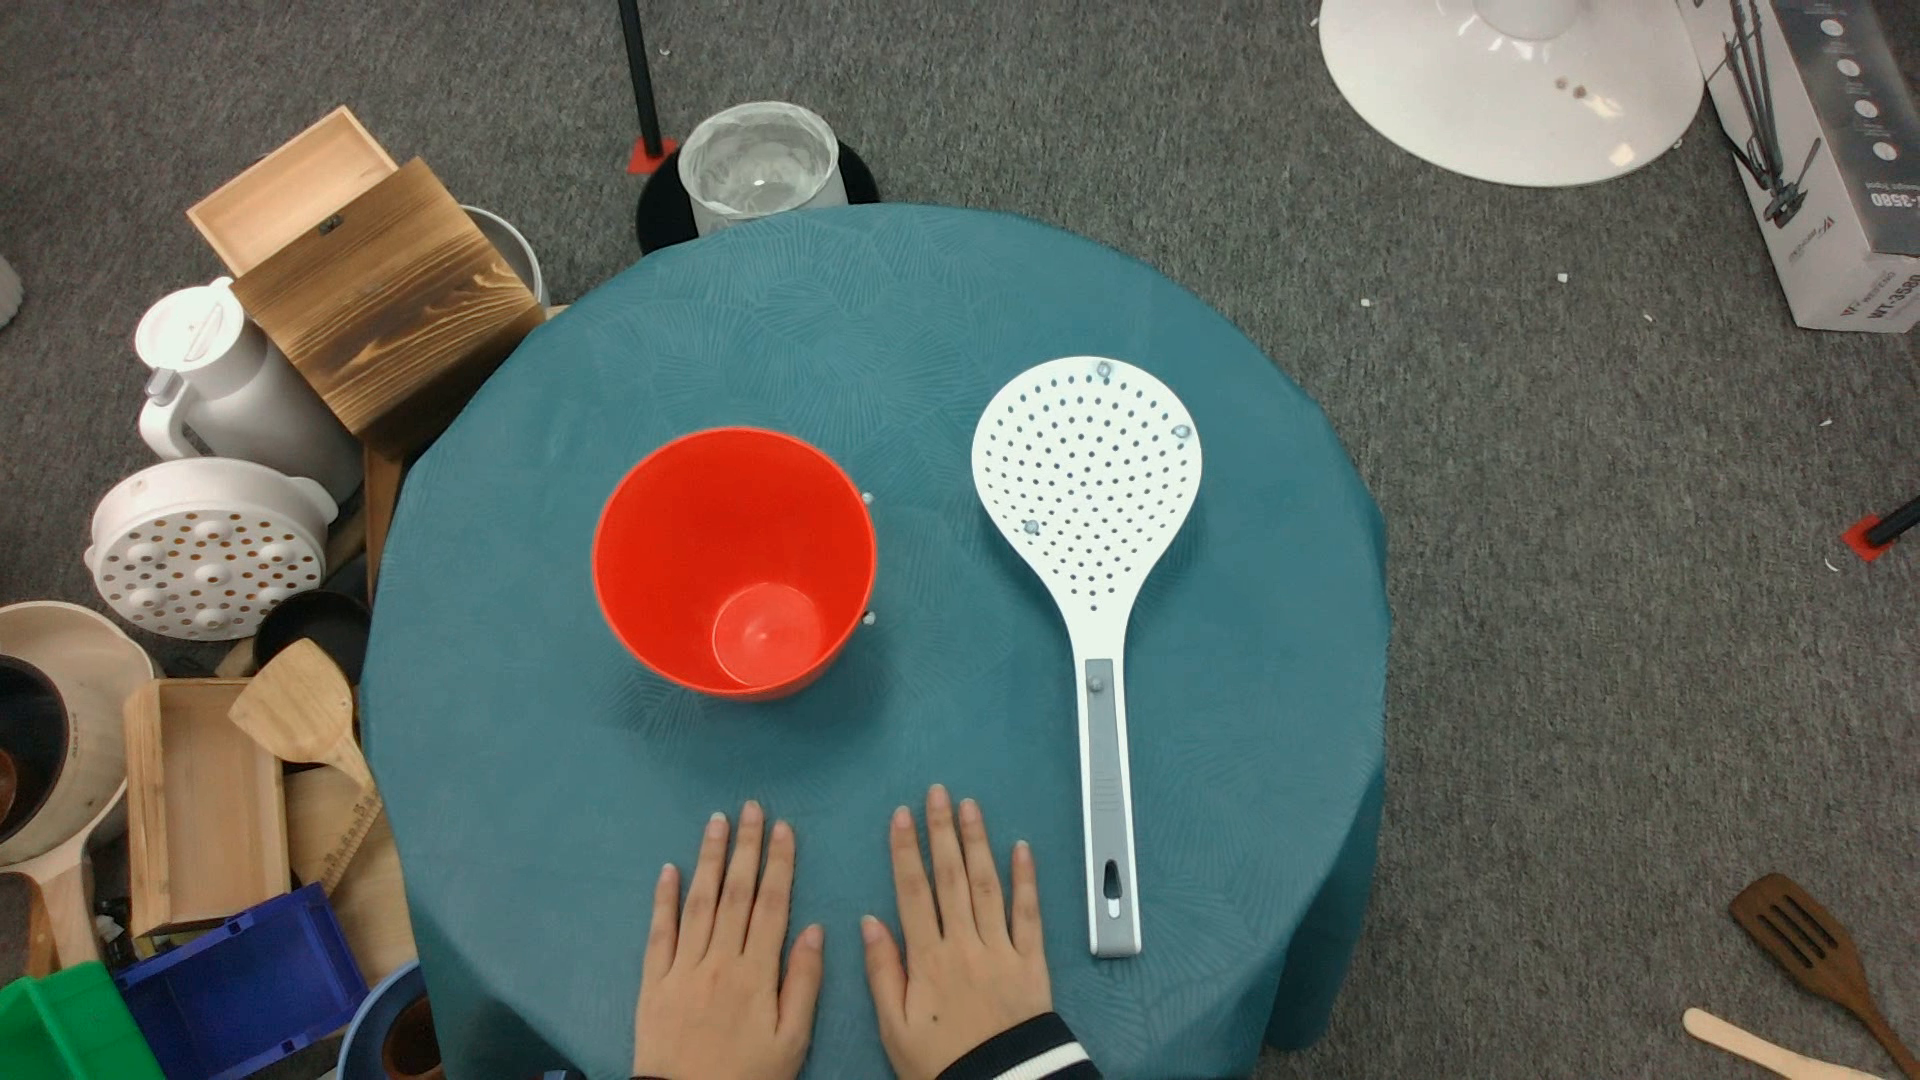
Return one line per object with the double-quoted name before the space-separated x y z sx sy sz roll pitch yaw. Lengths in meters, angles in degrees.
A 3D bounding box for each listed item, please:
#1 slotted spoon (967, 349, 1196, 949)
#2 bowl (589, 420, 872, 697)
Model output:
"slotted spoon" 0.074 0.050 0.780 0.136 0.045 0.351 -2 63 1
"bowl" -0.122 0.023 0.761 0.148 0.104 0.148 2 61 -3
